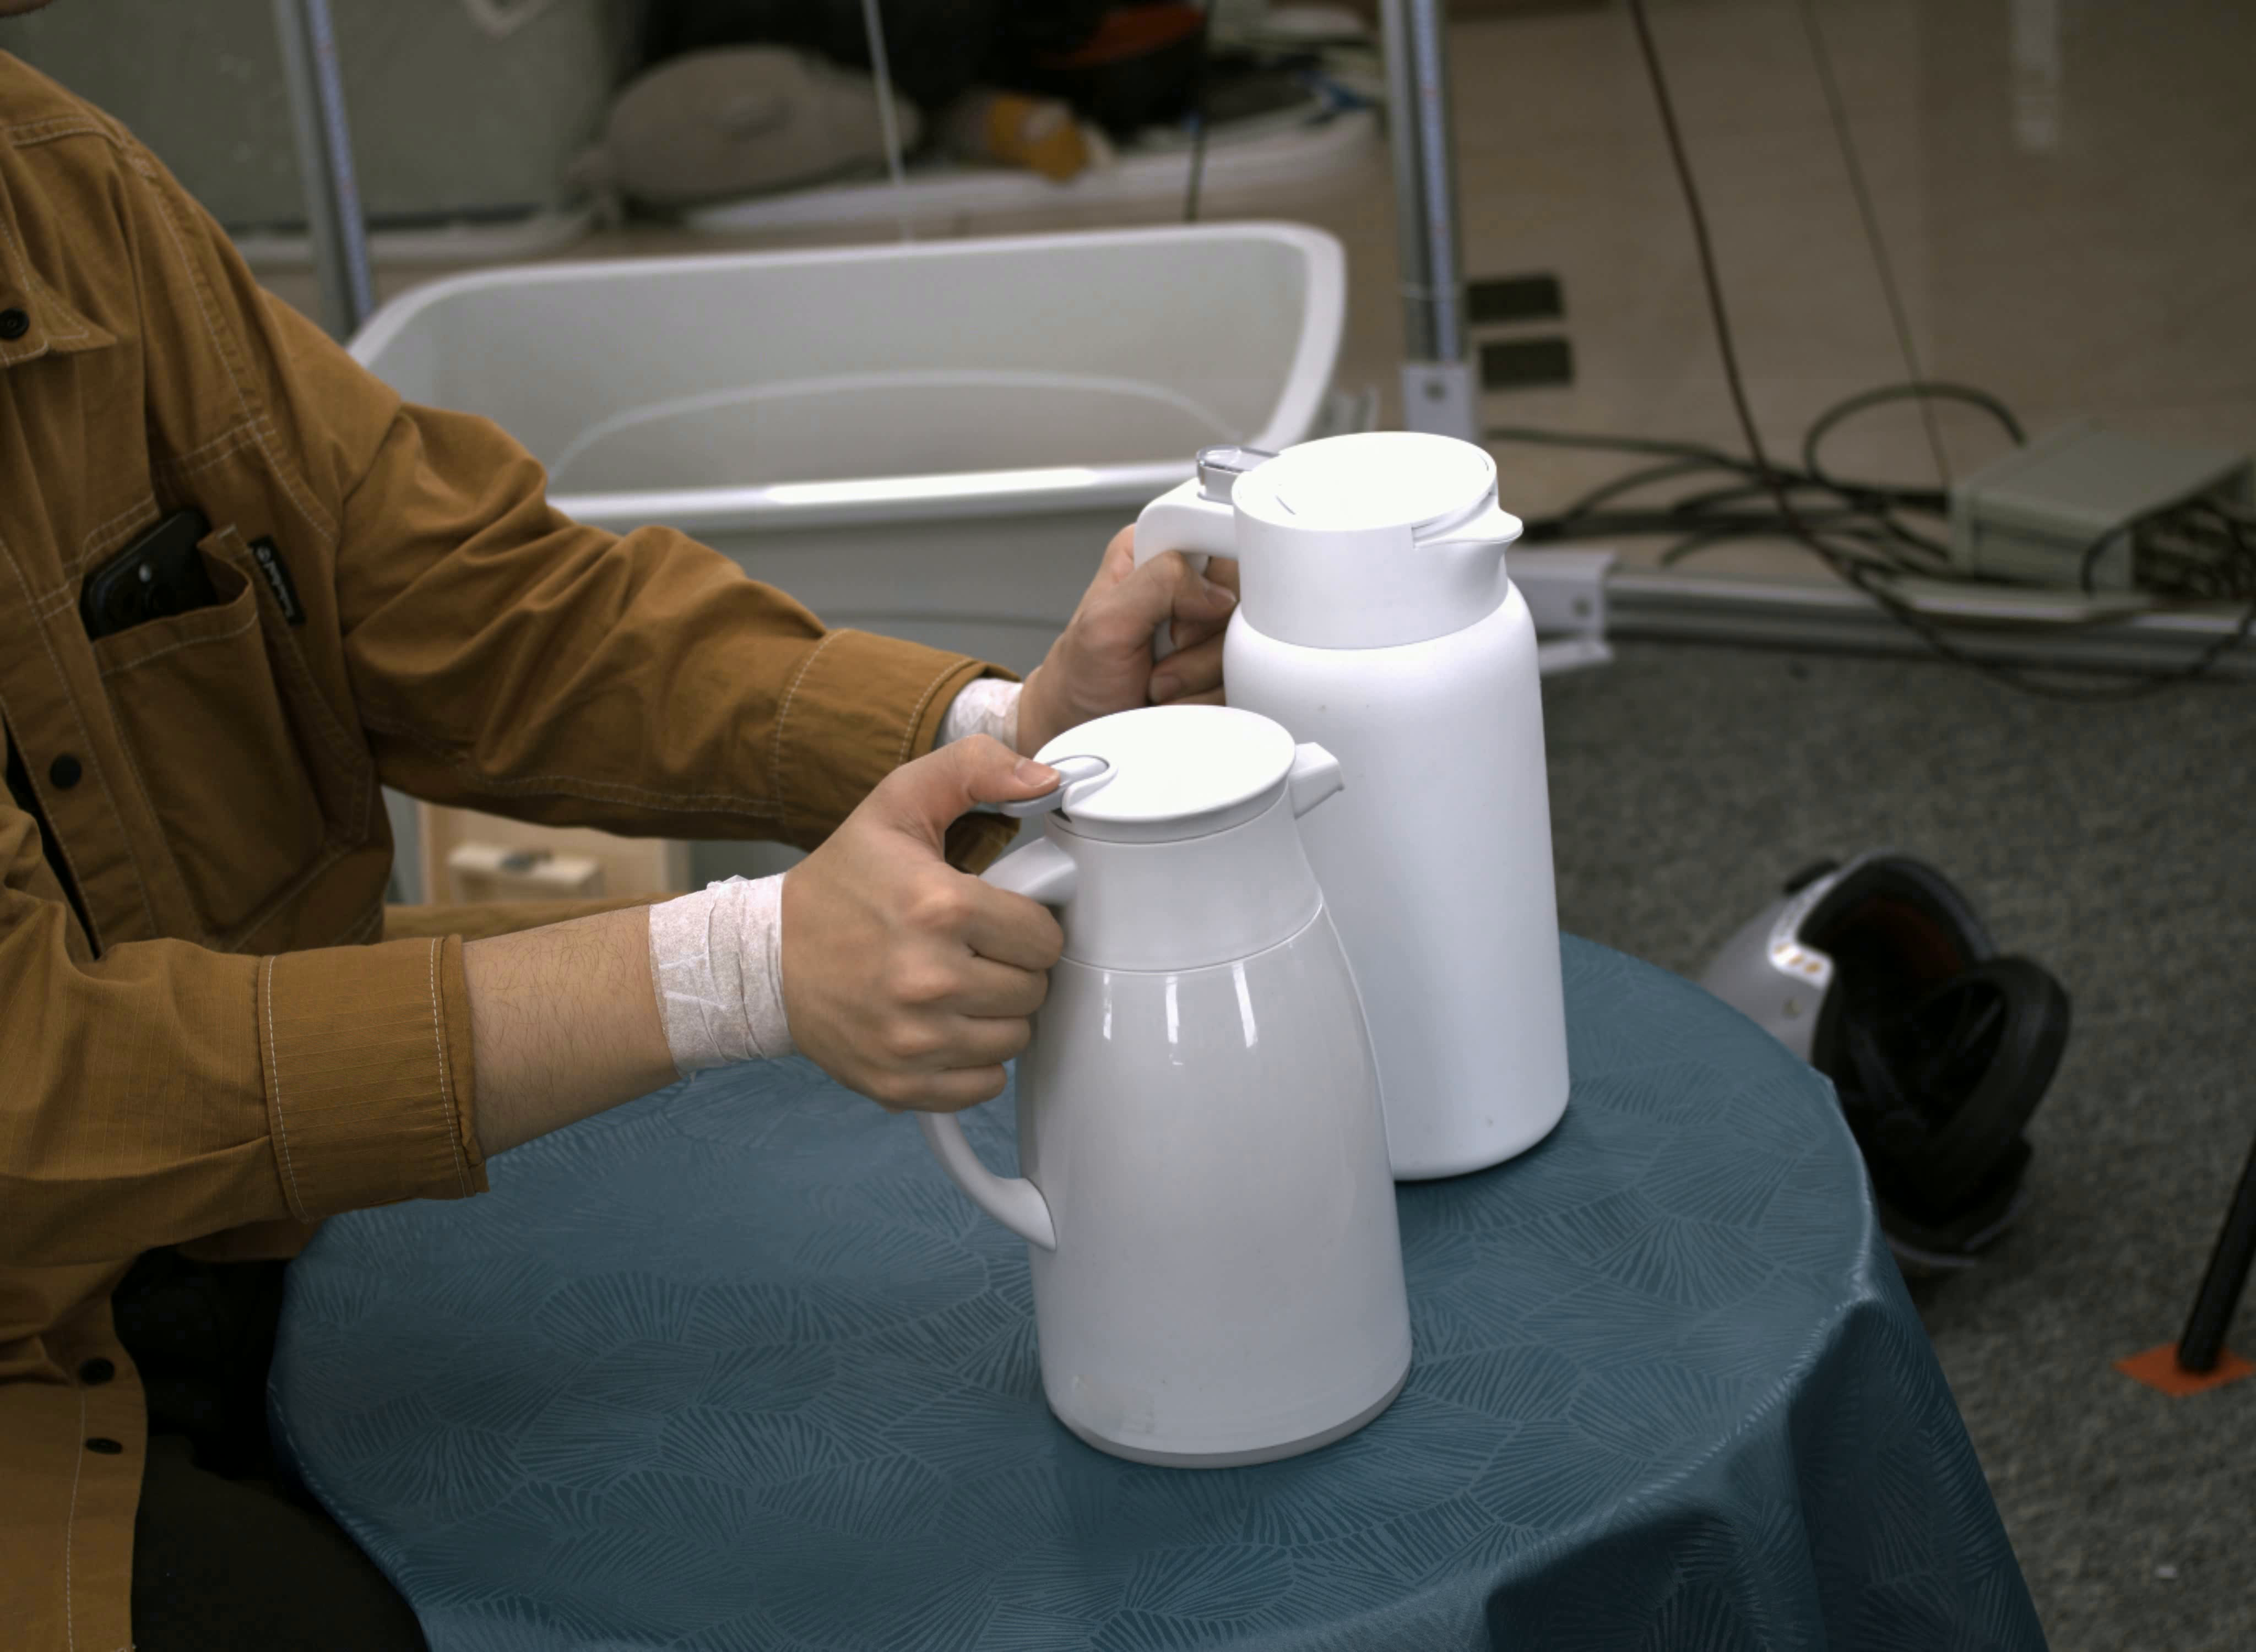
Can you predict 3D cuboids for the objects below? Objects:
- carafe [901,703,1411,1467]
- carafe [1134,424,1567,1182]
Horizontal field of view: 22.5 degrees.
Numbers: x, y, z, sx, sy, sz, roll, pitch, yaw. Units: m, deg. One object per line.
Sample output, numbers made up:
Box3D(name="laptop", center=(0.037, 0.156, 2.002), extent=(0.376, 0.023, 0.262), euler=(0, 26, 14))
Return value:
Box3D(name="carafe", center=(0.006, 0.088, 1.959), extent=(0.167, 0.252, 0.131), euler=(-17, 28, -19))
Box3D(name="carafe", center=(0.084, -0.010, 2.128), extent=(0.172, 0.273, 0.122), euler=(14, 34, 36))
